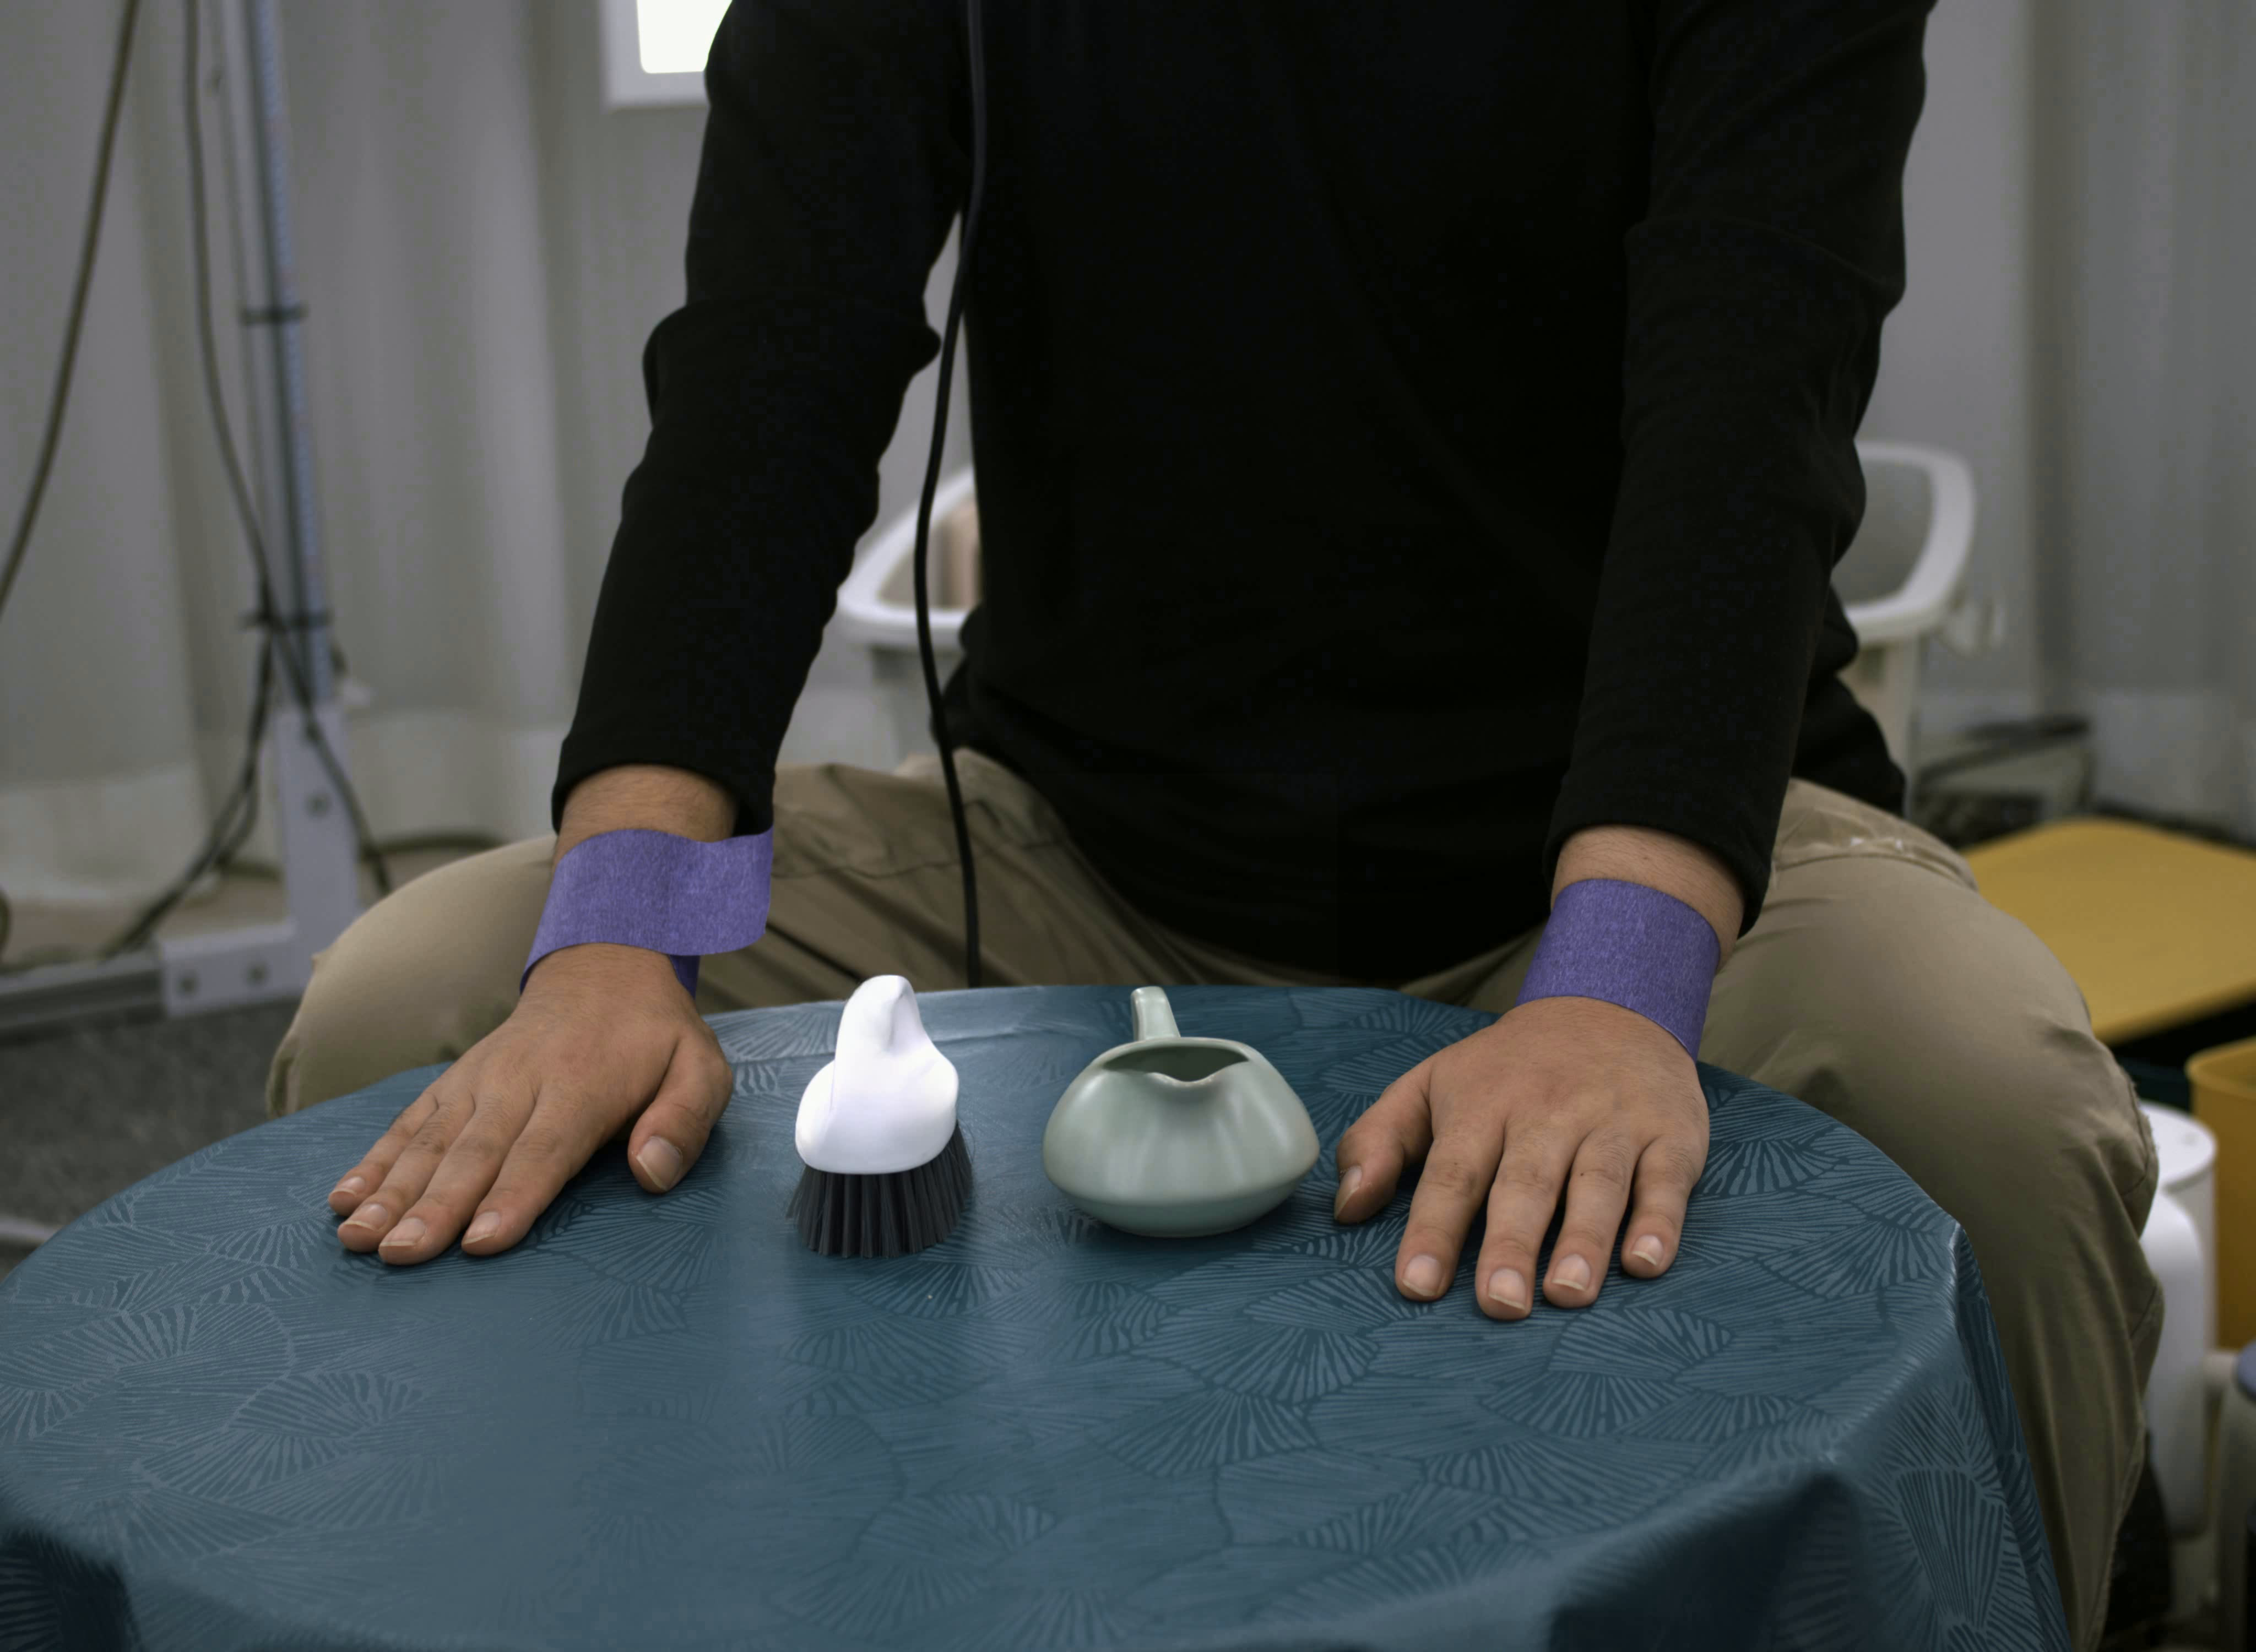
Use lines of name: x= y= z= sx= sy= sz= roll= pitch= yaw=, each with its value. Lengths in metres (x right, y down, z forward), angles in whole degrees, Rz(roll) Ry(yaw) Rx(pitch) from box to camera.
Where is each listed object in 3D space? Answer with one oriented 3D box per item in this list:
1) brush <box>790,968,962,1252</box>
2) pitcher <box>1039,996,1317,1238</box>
brush: x=-0.079 y=0.083 z=1.704 sx=0.050 sy=0.072 sz=0.100 roll=0 pitch=16 yaw=5
pitcher: x=0.013 y=0.091 z=1.696 sx=0.085 sy=0.060 sz=0.108 roll=-5 pitch=12 yaw=-9
